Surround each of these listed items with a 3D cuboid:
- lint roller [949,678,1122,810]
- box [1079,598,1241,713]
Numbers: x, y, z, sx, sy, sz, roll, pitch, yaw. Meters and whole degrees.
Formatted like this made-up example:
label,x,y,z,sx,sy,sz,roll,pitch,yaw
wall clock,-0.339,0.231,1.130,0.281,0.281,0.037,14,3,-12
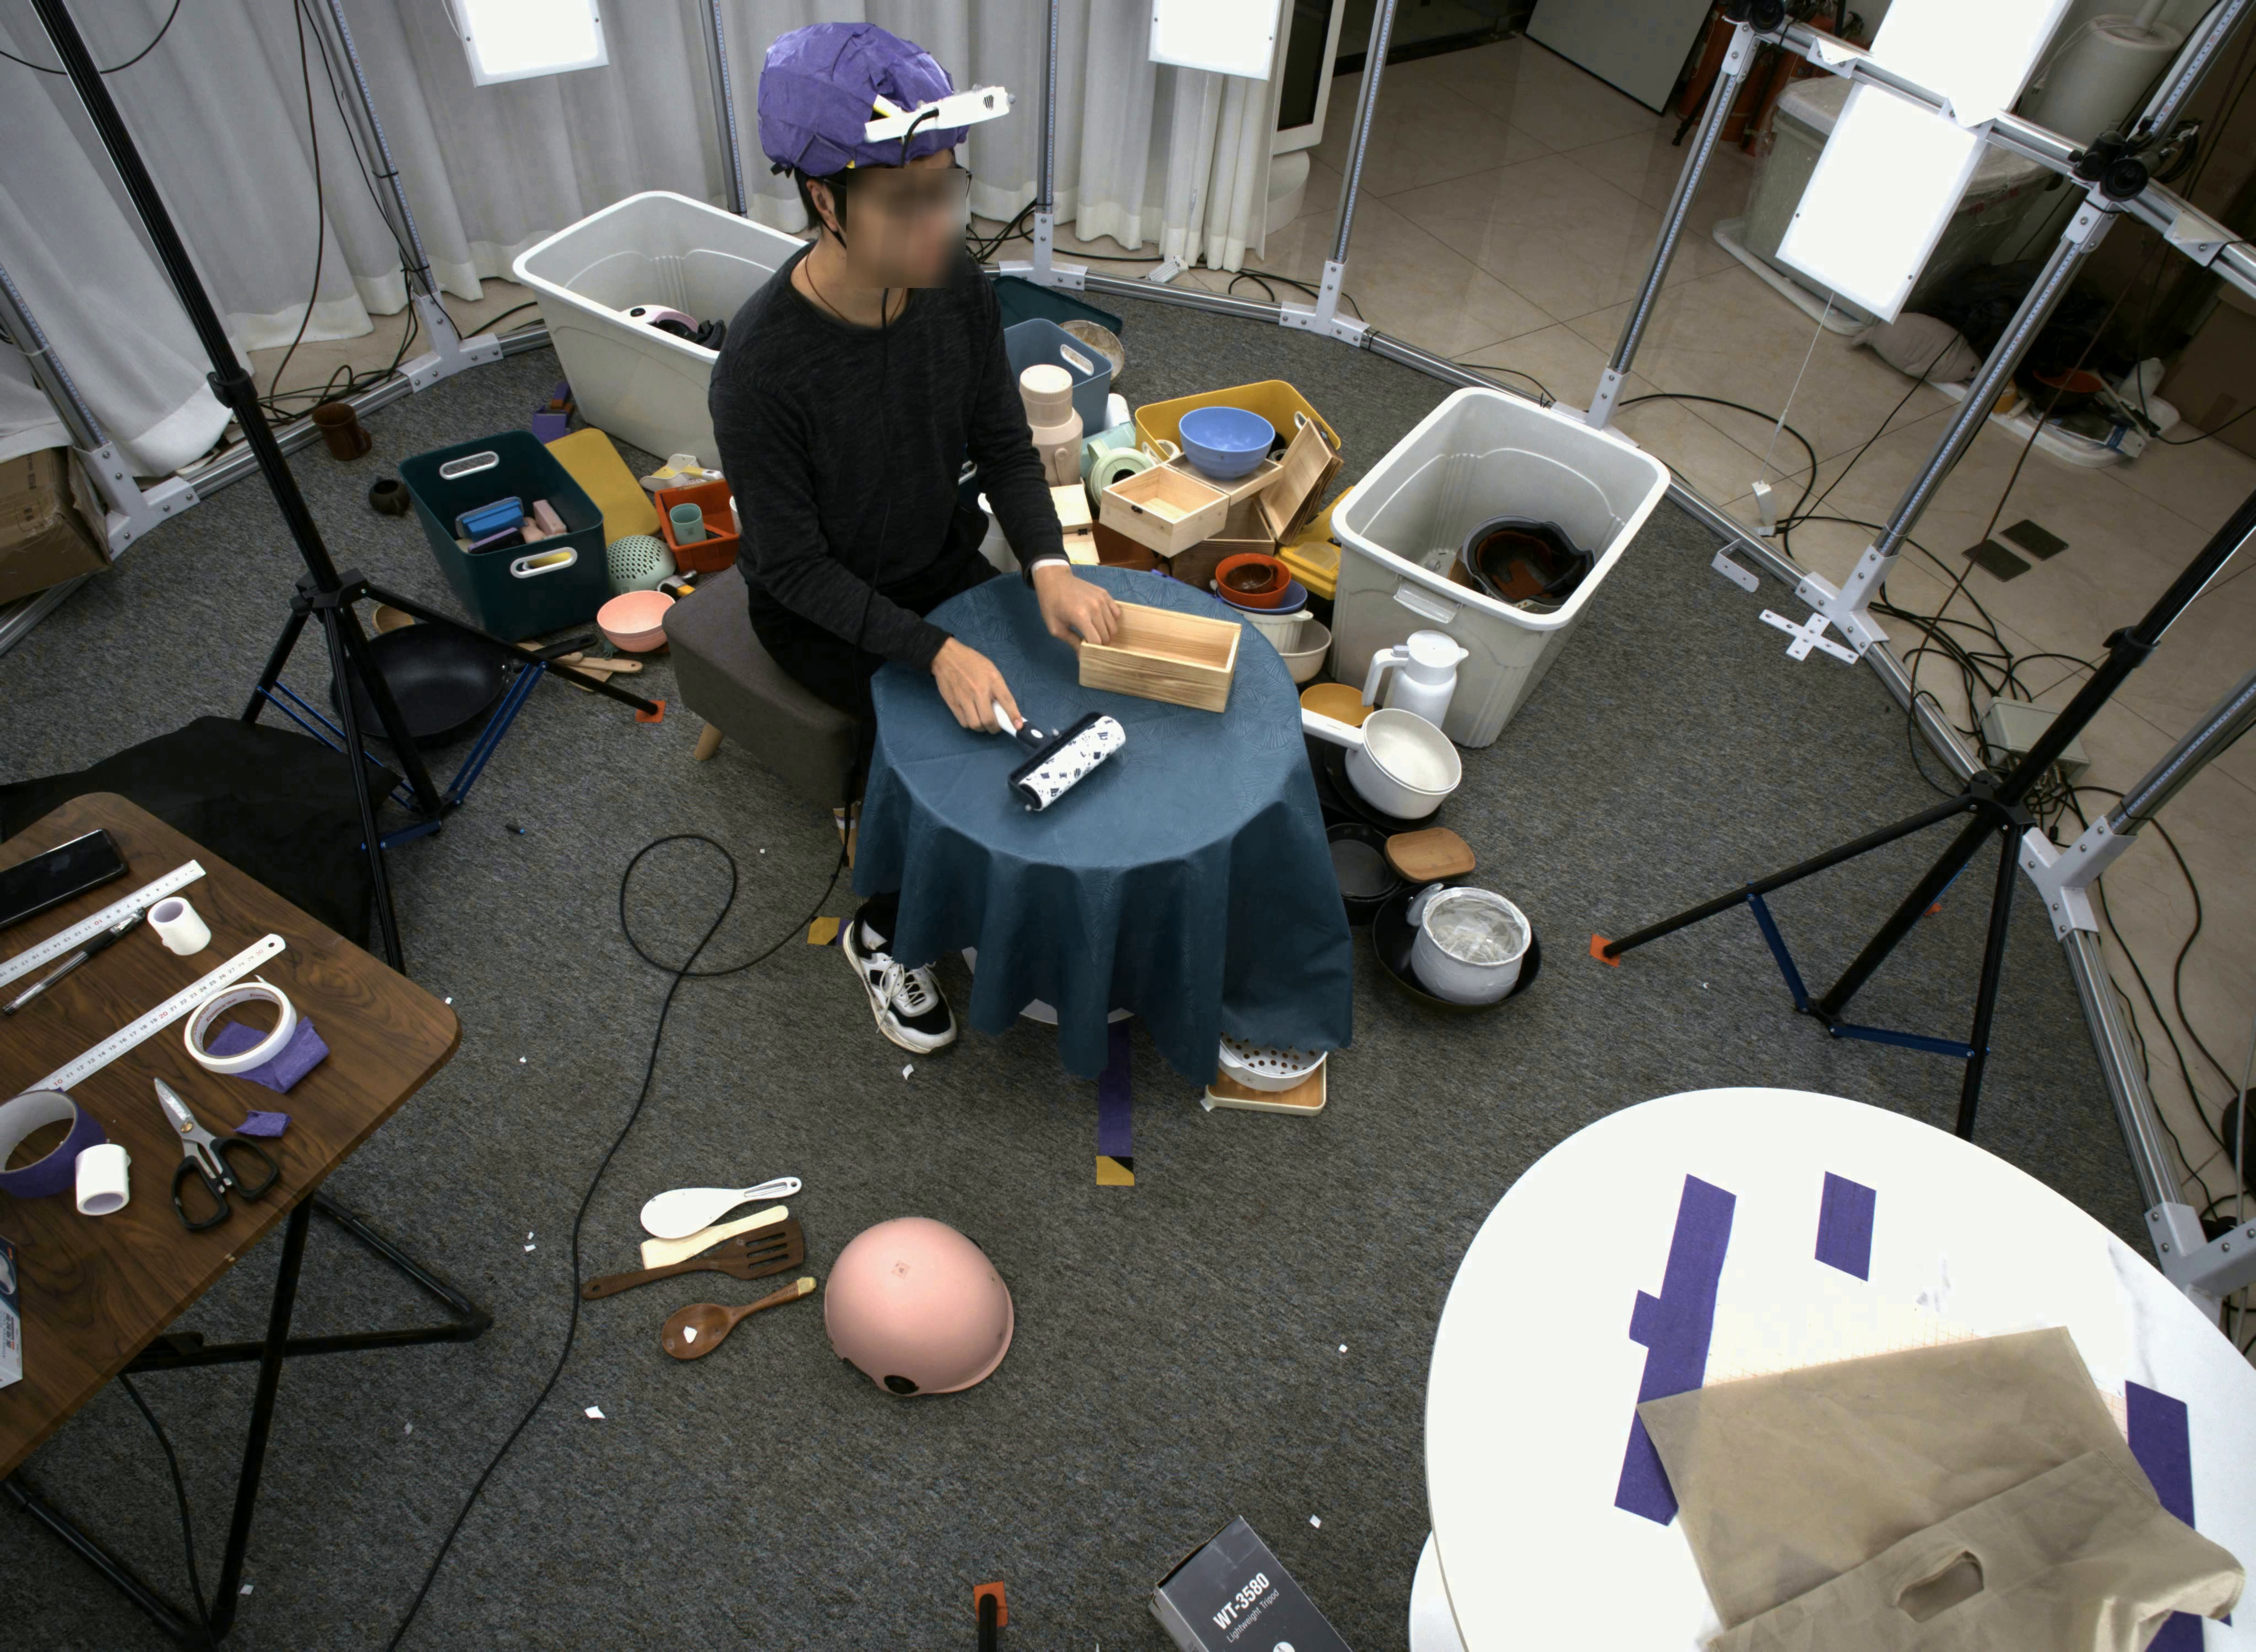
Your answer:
label,x,y,z,sx,sy,sz,roll,pitch,yaw
lint roller,-0.153,-0.139,1.735,0.250,0.049,0.178,34,63,24
box,0.045,-0.245,1.834,0.212,0.078,0.110,12,49,7
